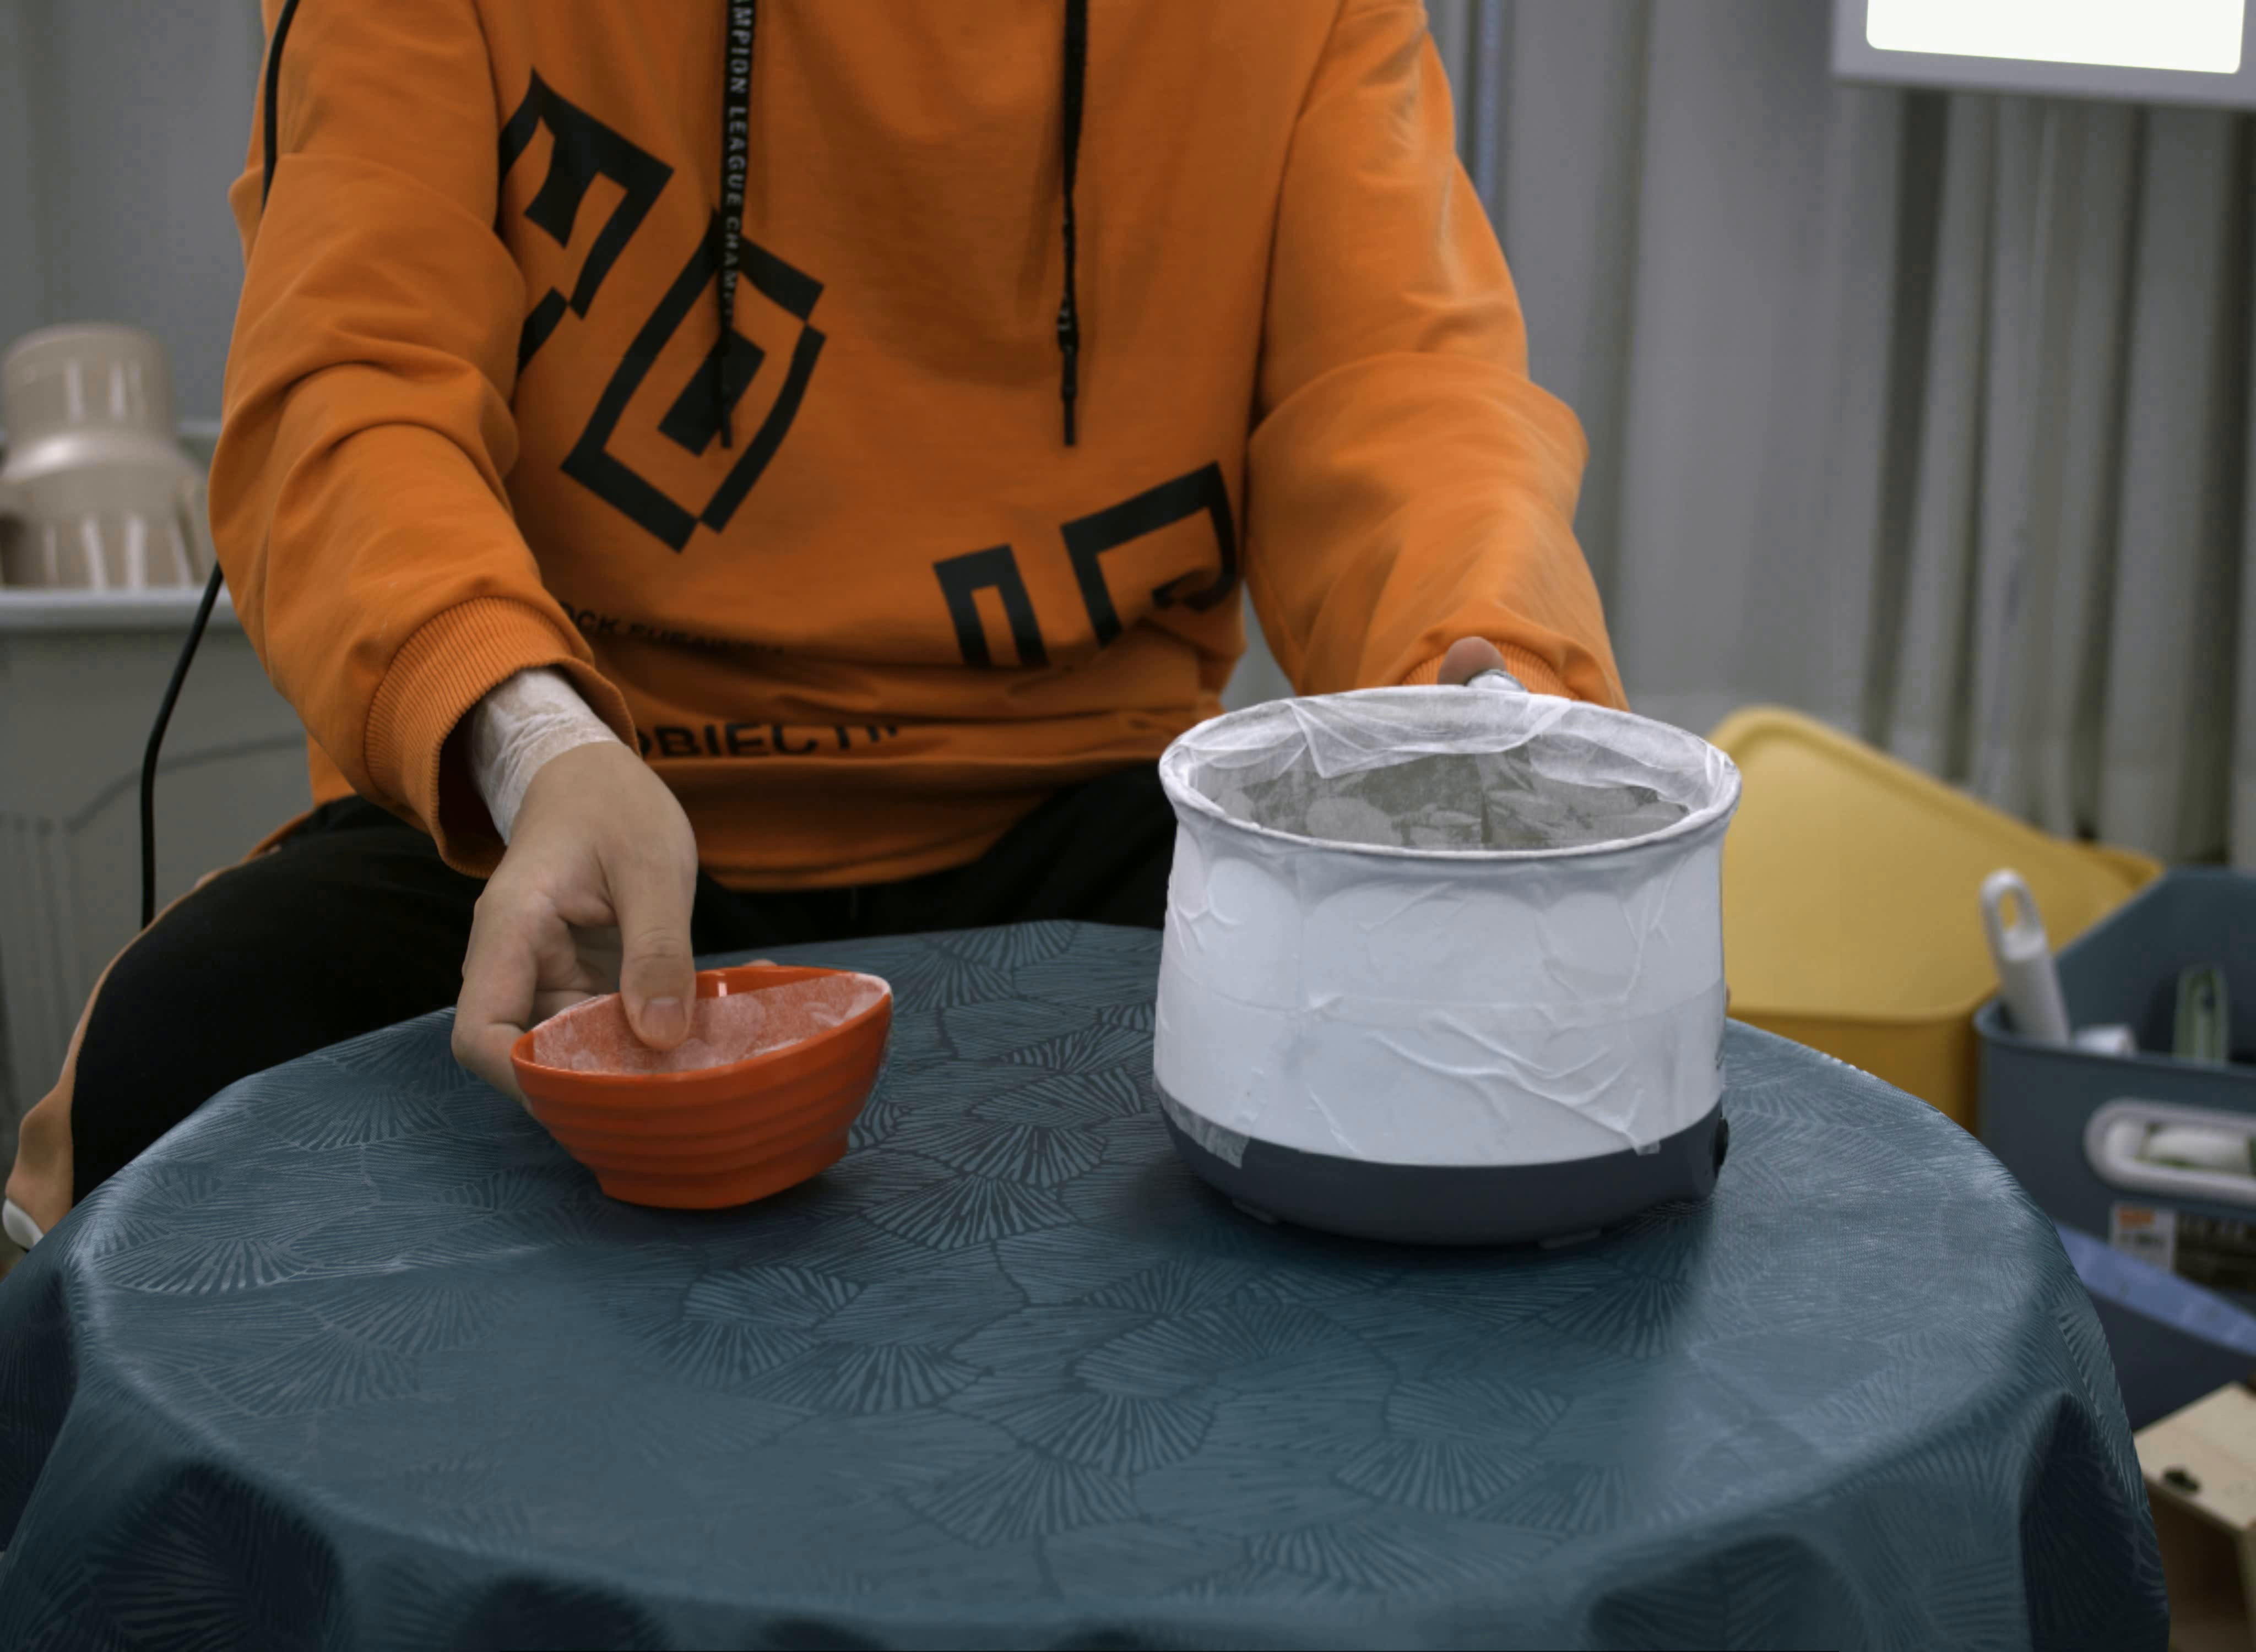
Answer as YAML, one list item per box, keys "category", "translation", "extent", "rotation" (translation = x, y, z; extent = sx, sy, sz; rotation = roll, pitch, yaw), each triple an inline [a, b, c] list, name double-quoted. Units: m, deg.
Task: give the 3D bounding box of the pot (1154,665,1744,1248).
- category: "pot"
  translation: [0.101, 0.034, 1.639]
  extent: [0.177, 0.138, 0.233]
  rotation: [5, 18, 9]

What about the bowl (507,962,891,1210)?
- category: "bowl"
  translation: [-0.128, 0.082, 1.616]
  extent: [0.118, 0.052, 0.118]
  rotation: [-8, 15, 3]
